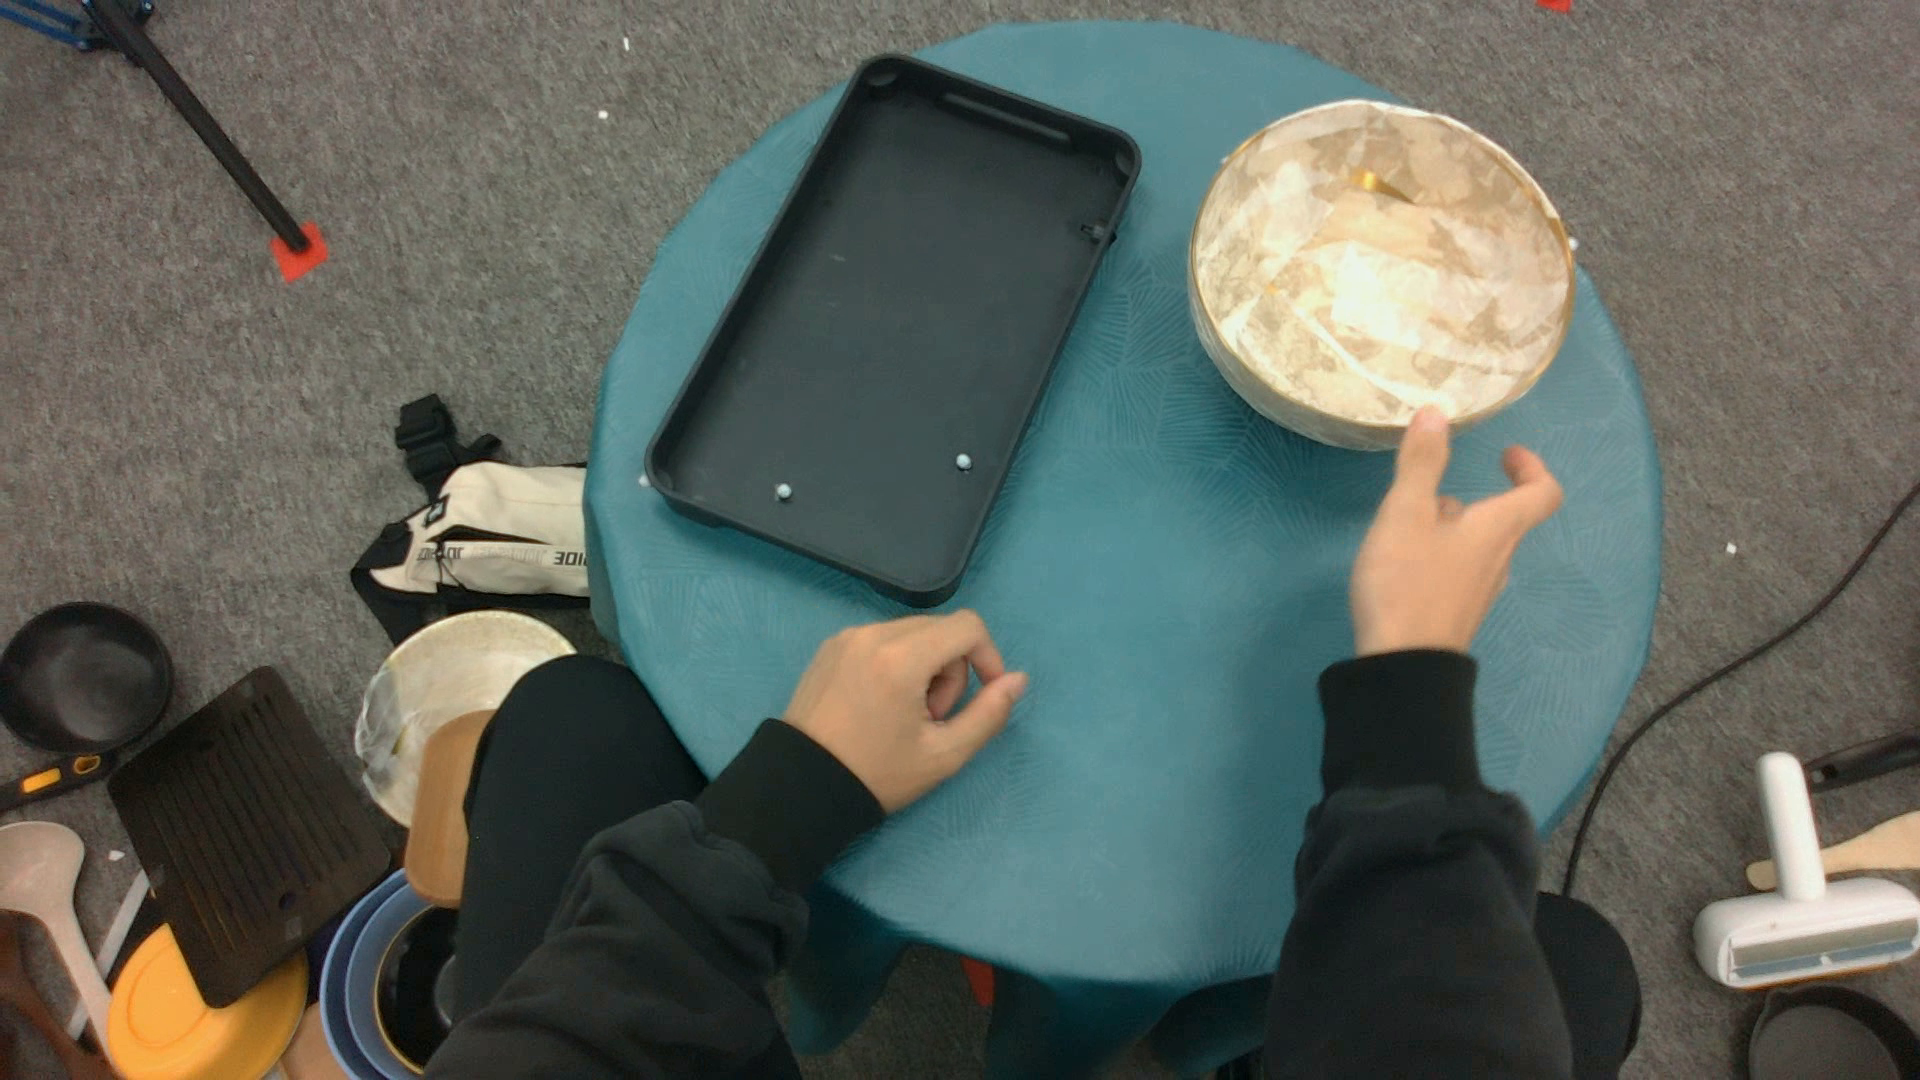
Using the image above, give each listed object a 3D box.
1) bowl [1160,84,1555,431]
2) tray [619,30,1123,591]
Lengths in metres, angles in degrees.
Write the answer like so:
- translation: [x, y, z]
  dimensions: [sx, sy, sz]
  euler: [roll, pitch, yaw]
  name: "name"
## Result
- translation: [0.205, -0.140, 0.763]
  dimensions: [0.215, 0.094, 0.215]
  euler: [1, 68, -3]
  name: "bowl"
- translation: [-0.043, -0.139, 0.784]
  dimensions: [0.184, 0.037, 0.319]
  euler: [22, 70, 6]
  name: "tray"
